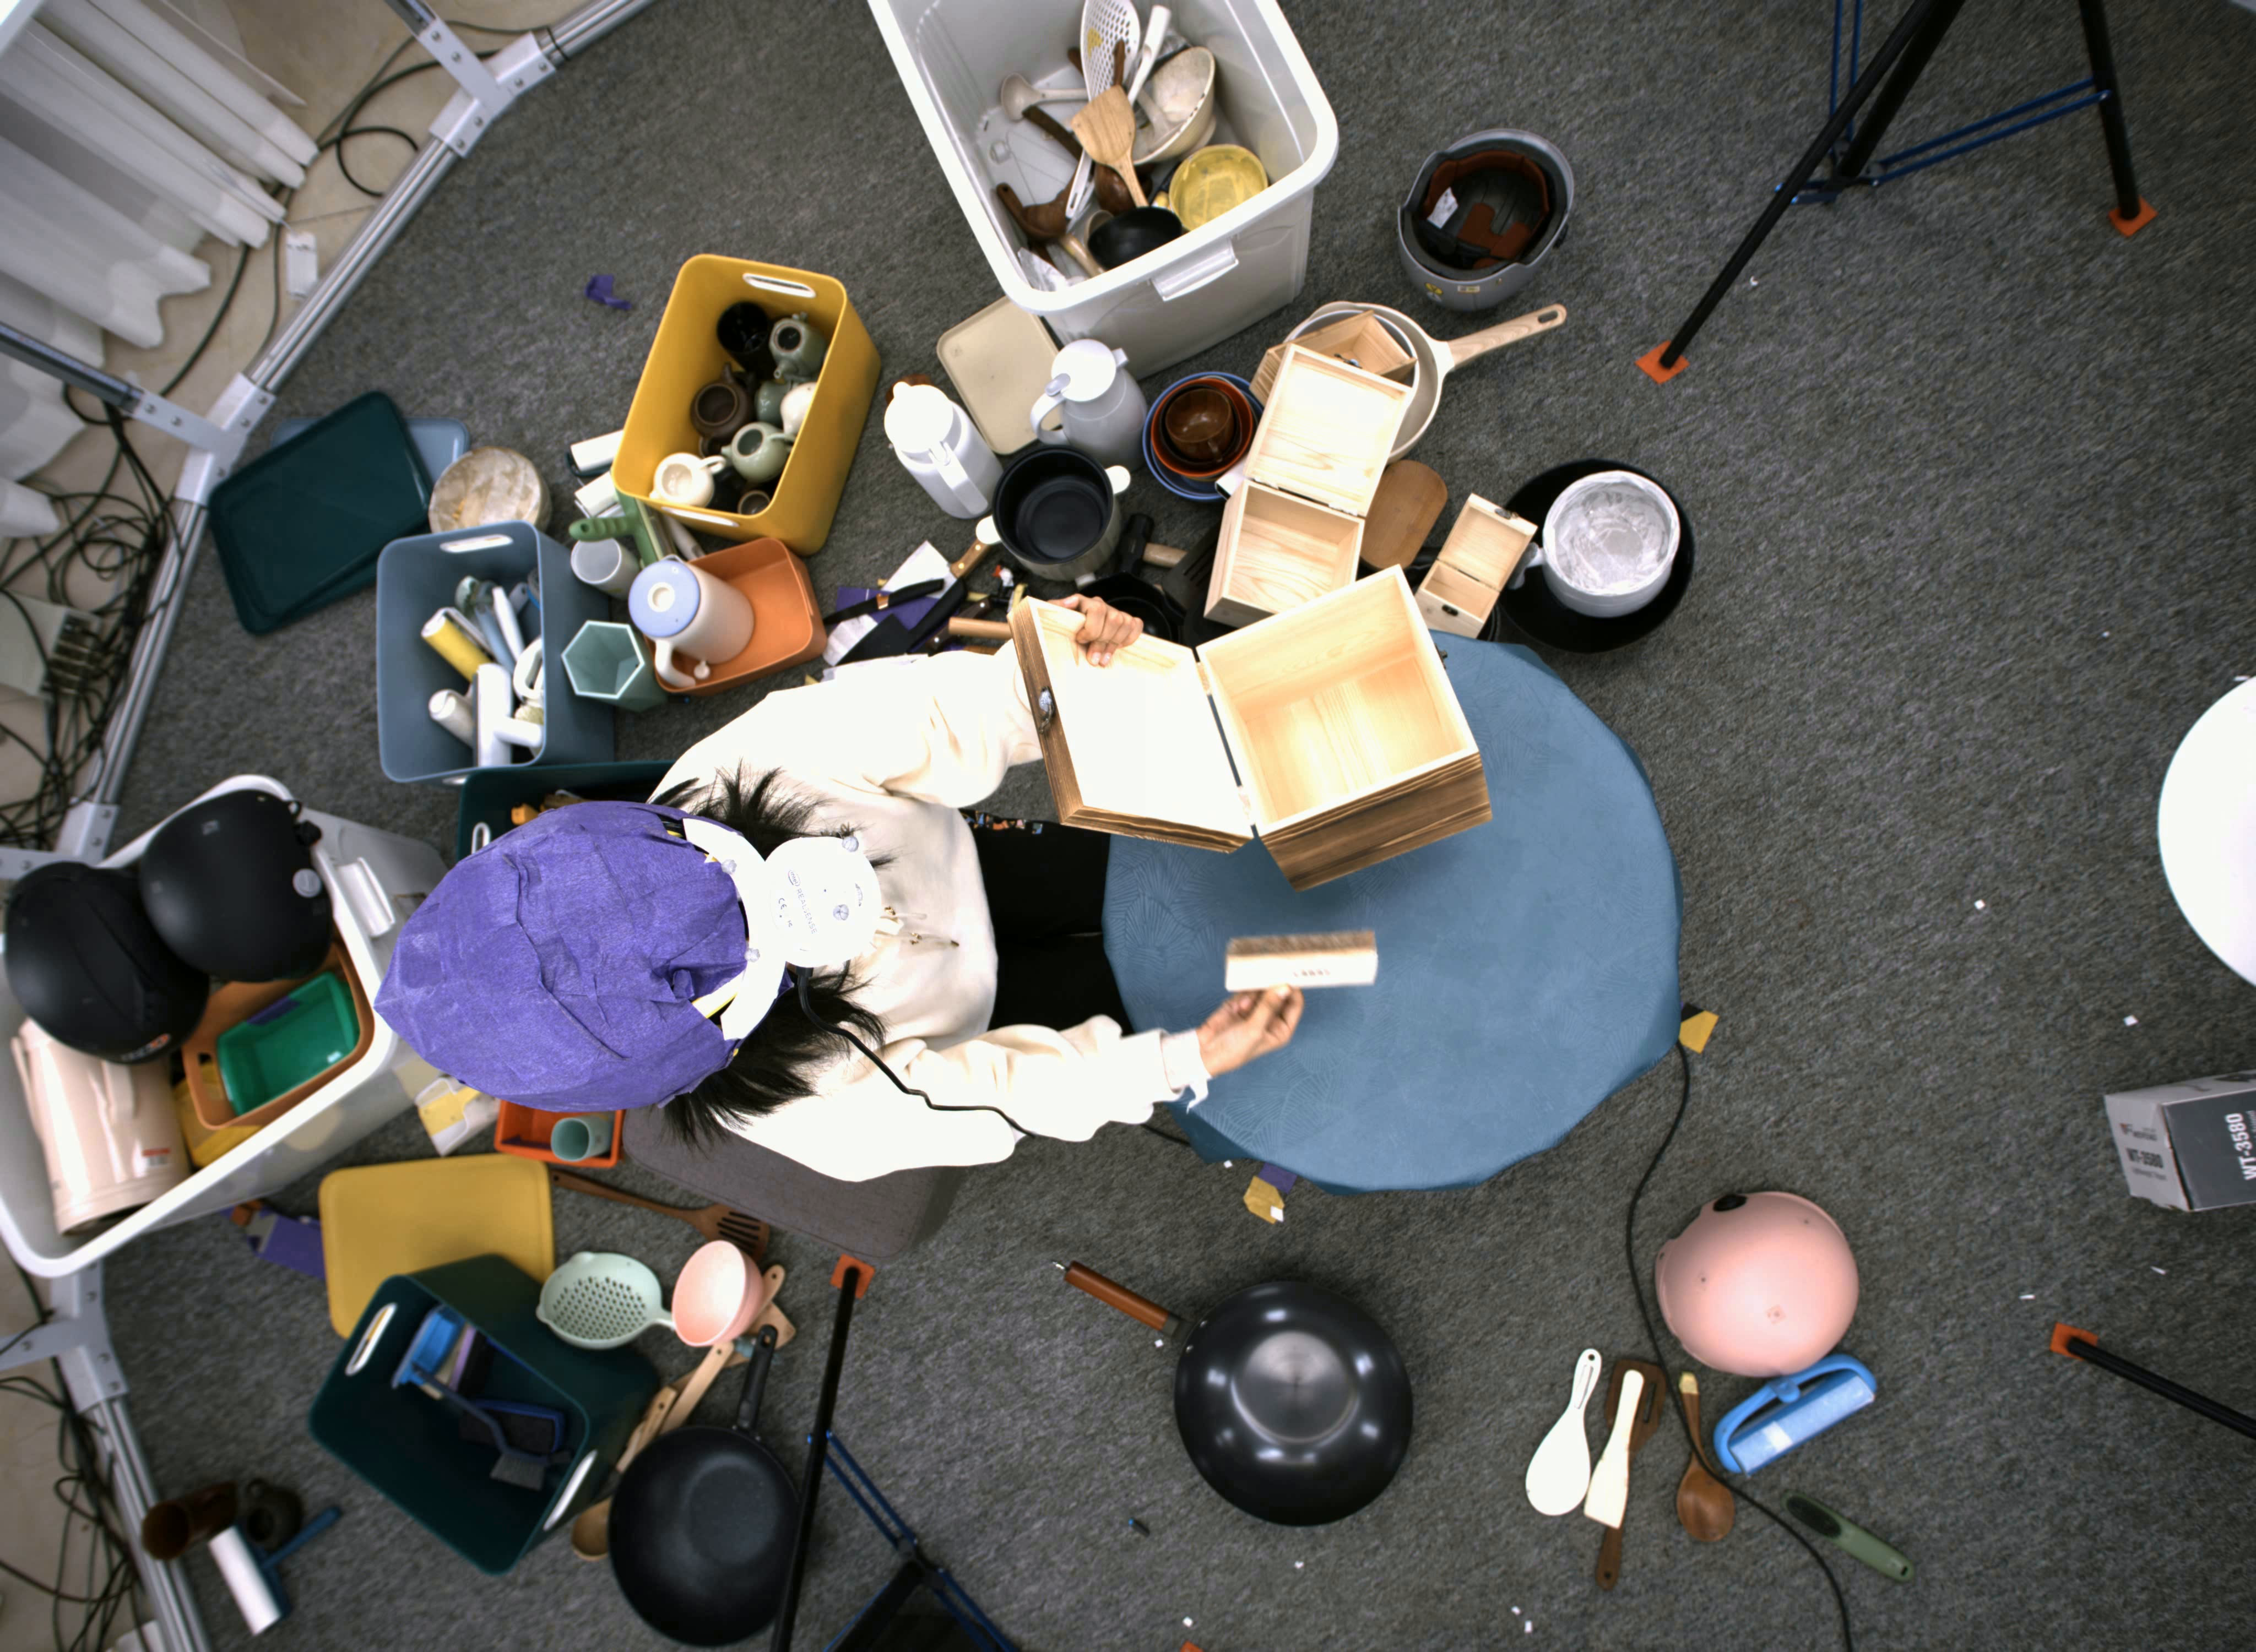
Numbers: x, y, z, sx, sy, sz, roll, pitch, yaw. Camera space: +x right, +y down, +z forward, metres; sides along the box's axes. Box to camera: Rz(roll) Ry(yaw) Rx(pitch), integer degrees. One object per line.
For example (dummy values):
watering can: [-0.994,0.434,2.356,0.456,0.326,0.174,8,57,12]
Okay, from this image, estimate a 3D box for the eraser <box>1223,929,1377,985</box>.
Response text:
eraser: [0.158,0.122,1.290,0.139,0.058,0.028,-2,59,0]

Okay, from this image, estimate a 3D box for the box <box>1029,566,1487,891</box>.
box: [0.129,-0.098,1.211,0.324,0.379,0.205,-21,66,10]
